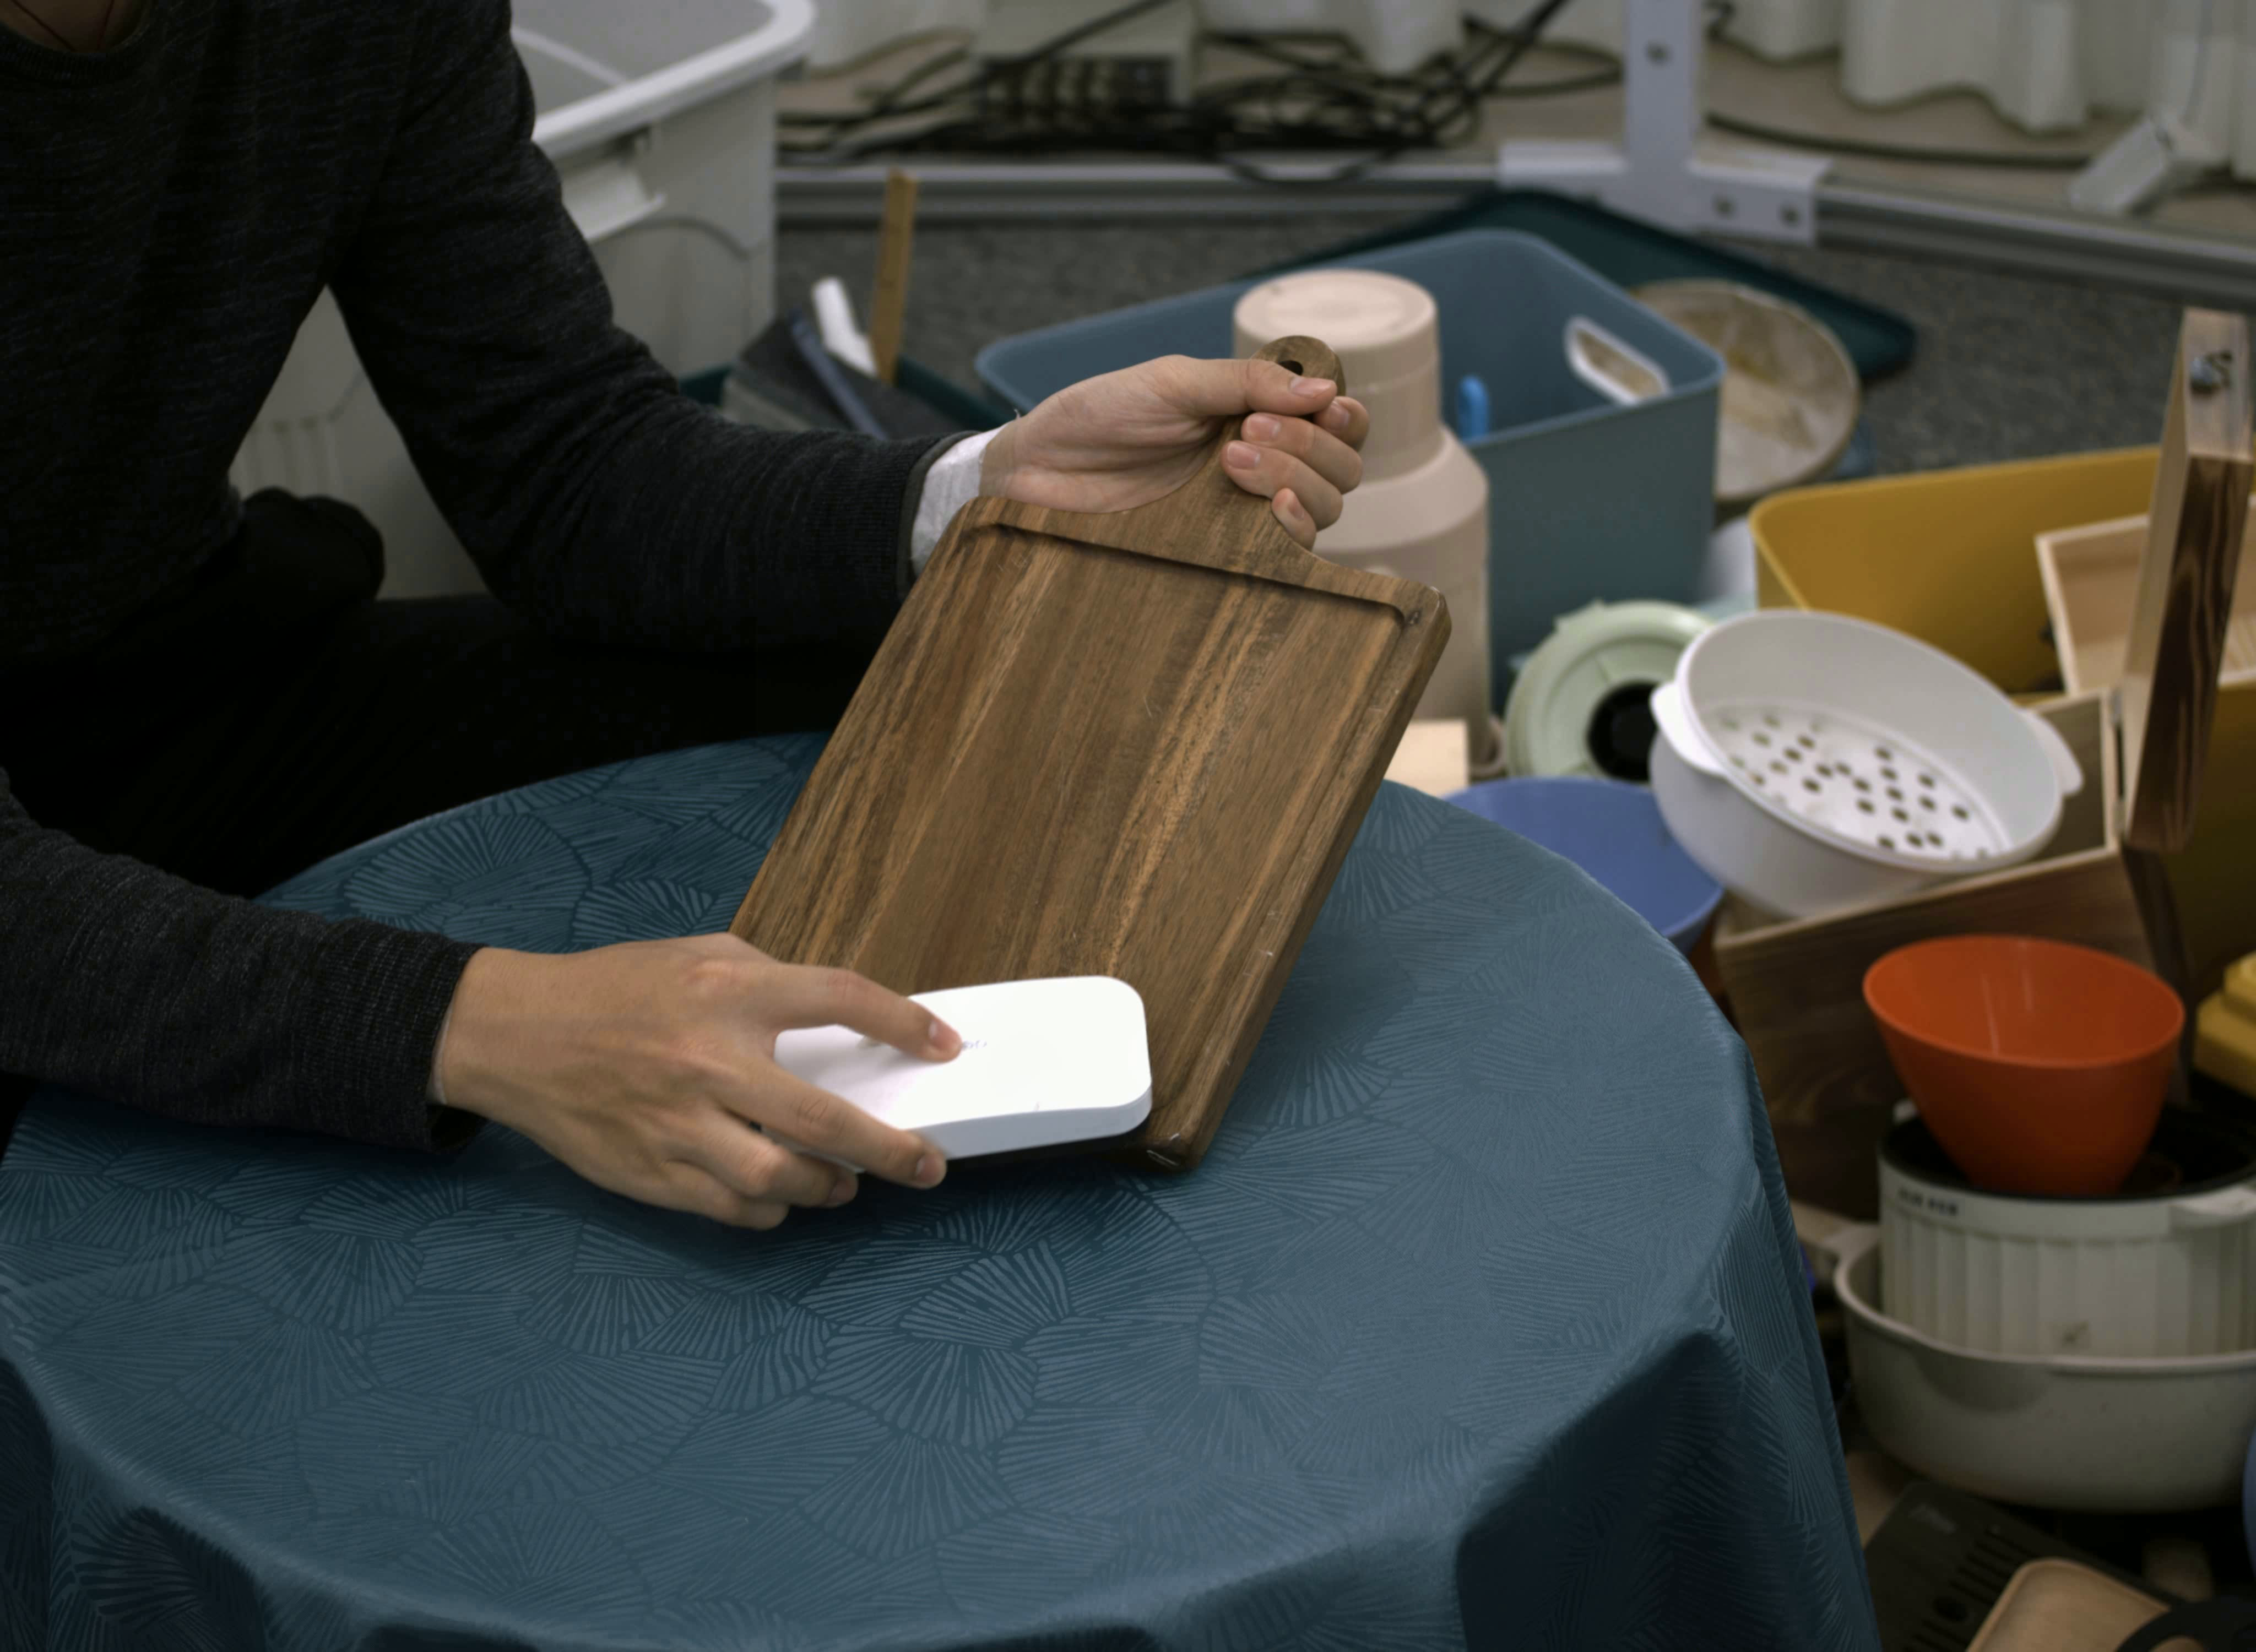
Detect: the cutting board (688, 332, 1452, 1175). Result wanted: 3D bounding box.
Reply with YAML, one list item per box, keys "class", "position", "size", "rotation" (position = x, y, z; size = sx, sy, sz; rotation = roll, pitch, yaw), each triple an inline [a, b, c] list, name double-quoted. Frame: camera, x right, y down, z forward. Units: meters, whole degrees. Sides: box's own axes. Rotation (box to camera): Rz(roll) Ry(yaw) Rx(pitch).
- class: "cutting board"
  position: [0.000, -0.040, 1.990]
  size: [0.200, 0.023, 0.359]
  rotation: [12, 55, 22]

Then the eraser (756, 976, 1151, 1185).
- class: "eraser"
  position: [-0.058, 0.083, 1.867]
  size: [0.131, 0.034, 0.064]
  rotation: [-6, 43, 0]
